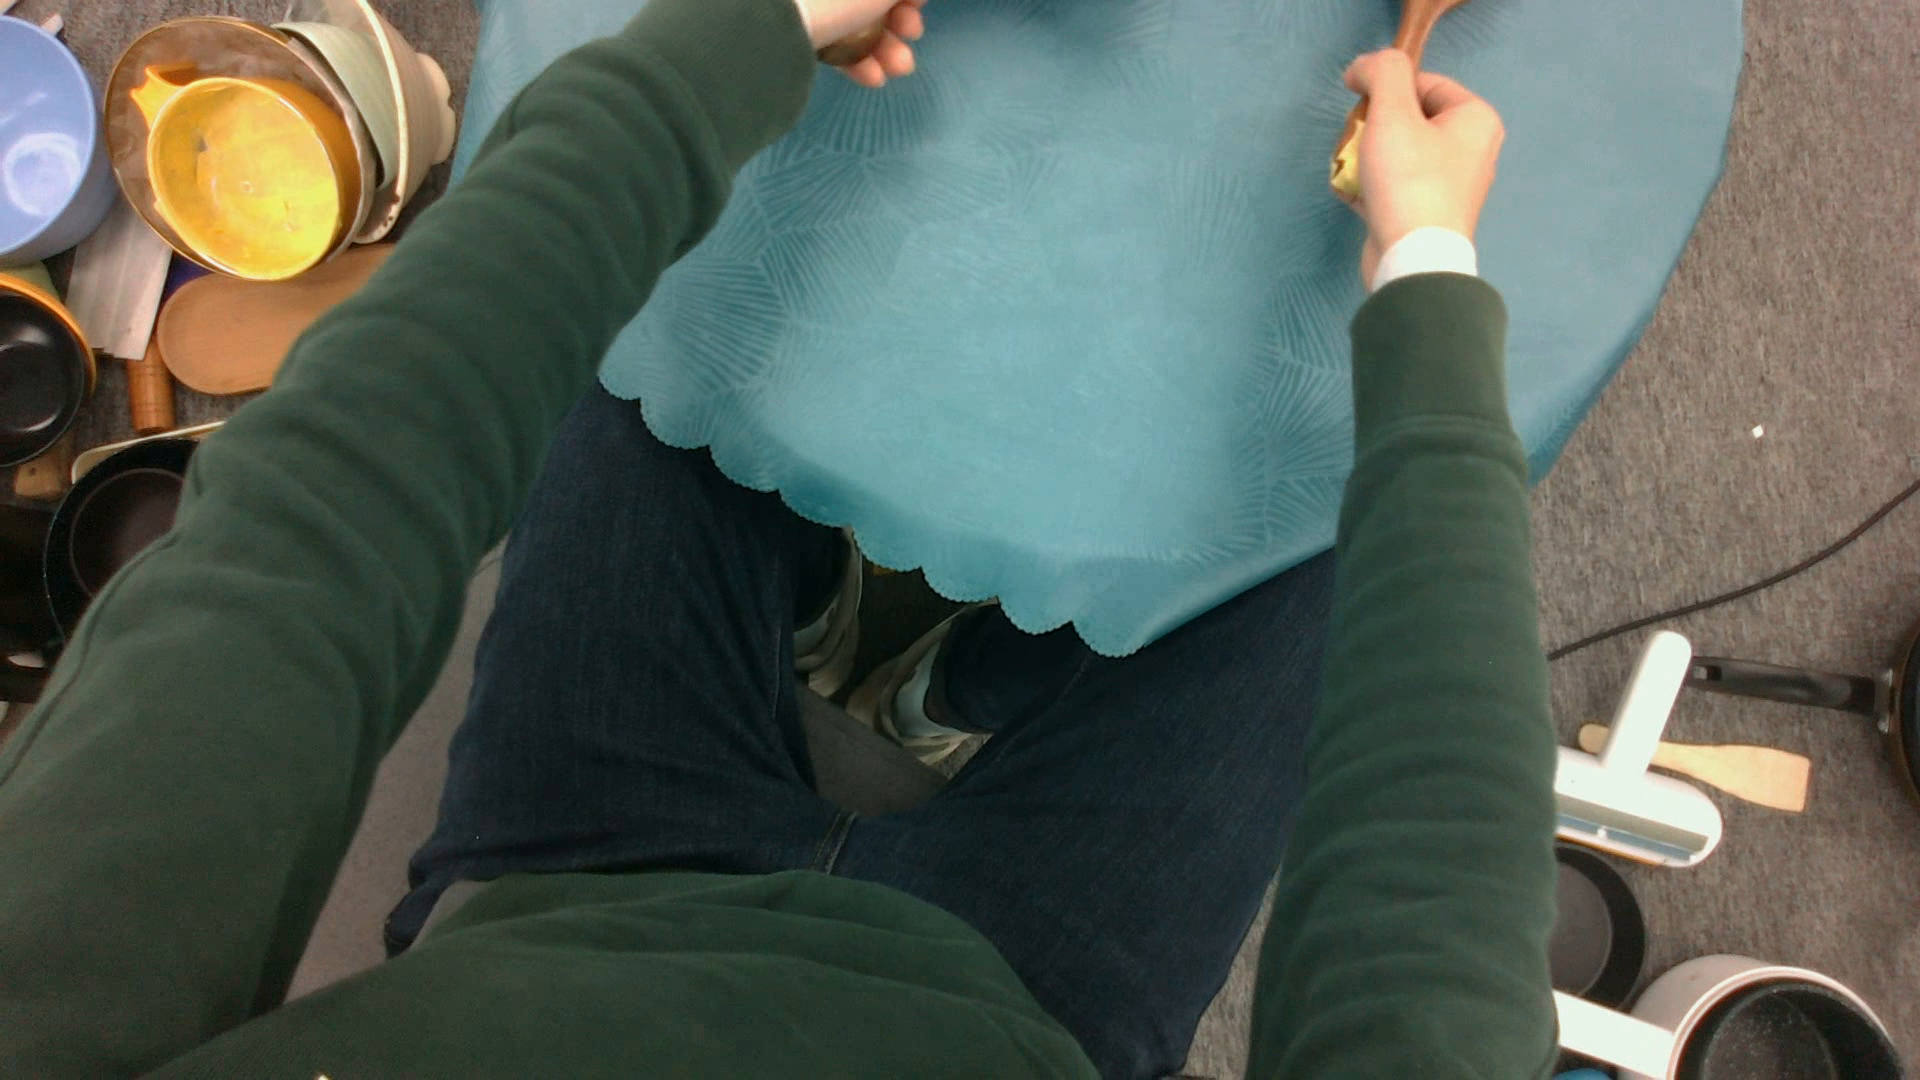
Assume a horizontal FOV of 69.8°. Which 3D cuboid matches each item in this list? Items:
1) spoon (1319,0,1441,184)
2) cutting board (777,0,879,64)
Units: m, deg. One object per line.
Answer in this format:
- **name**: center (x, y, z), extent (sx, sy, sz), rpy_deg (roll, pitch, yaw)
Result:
- **spoon**: center (0.203, -0.245, 0.621), extent (0.075, 0.017, 0.216), rpy_deg (31, 67, -14)
- **cutting board**: center (0.003, -0.355, 0.614), extent (0.201, 0.023, 0.353), rpy_deg (25, 72, -3)
